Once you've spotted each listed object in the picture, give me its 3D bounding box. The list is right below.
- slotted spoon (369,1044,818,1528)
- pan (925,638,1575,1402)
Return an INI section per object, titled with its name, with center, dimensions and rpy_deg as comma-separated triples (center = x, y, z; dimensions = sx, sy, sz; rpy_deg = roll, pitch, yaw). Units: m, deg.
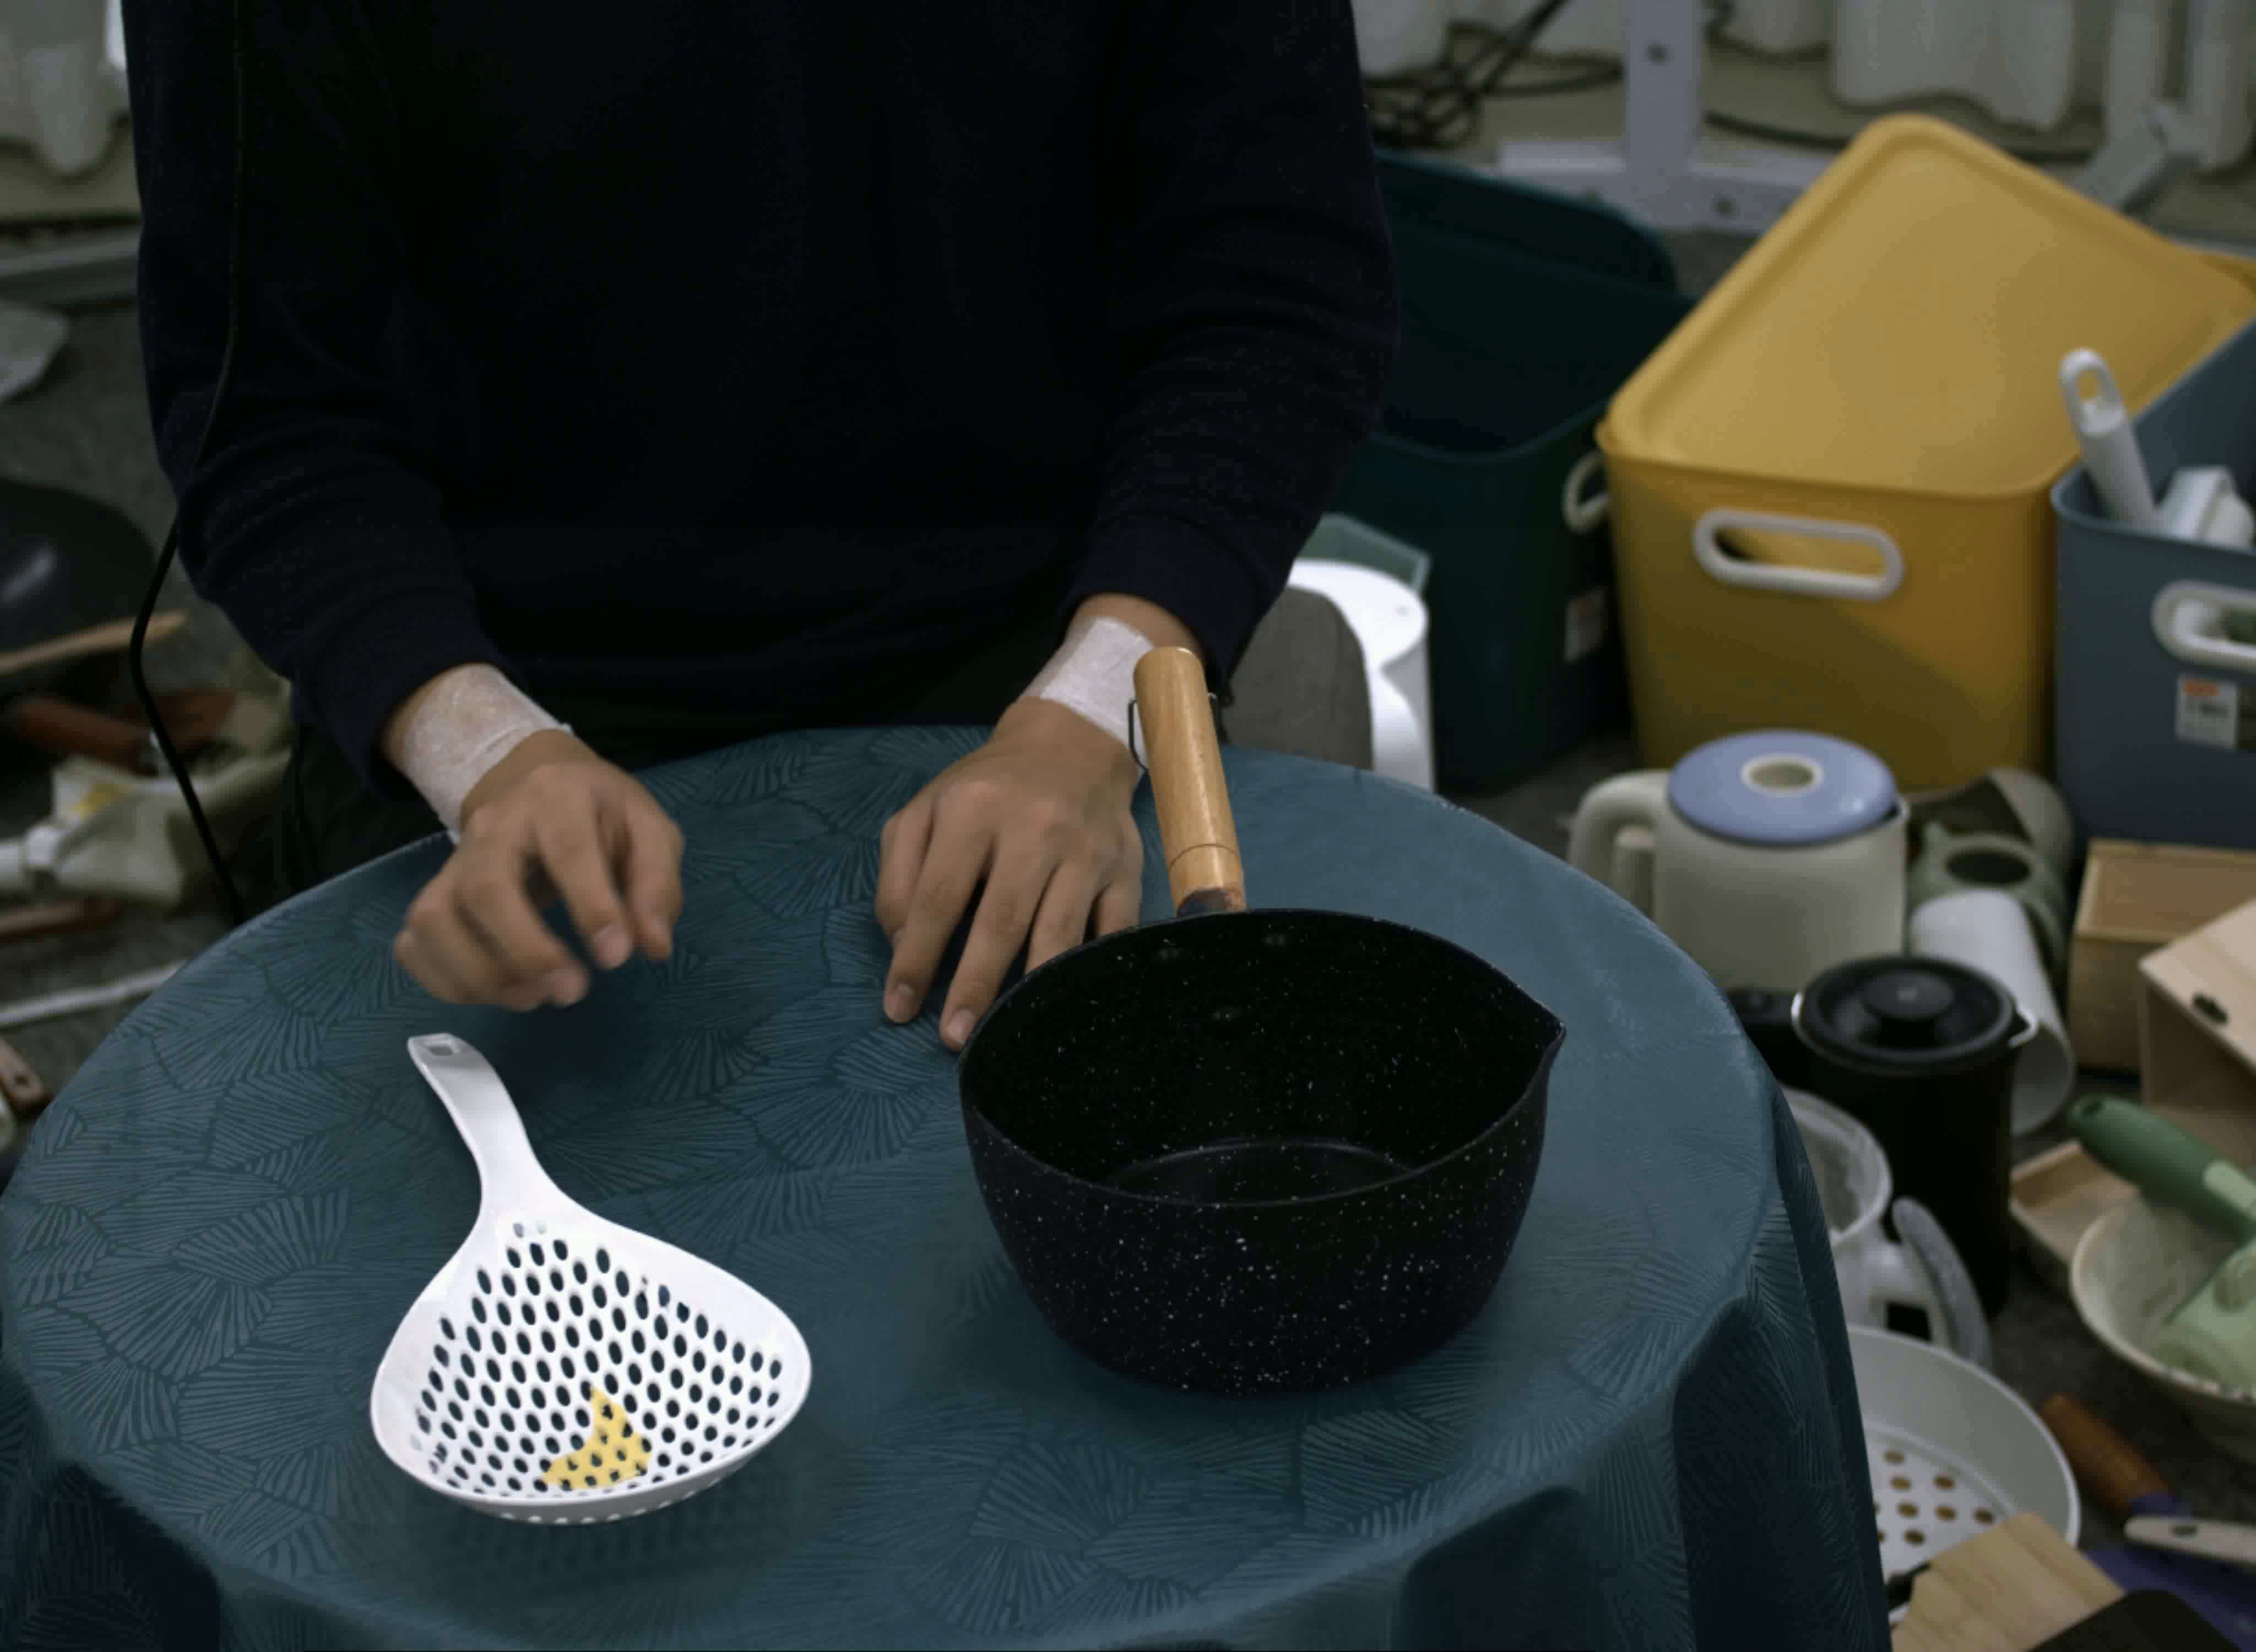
[slotted spoon]
center = -0.196, 0.136, 1.809
dimensions = 0.137, 0.050, 0.351
rpy_deg = -12, 30, -14
[pan]
center = 0.032, 0.060, 1.861
dimensions = 0.207, 0.107, 0.347
rpy_deg = -7, 29, -5
